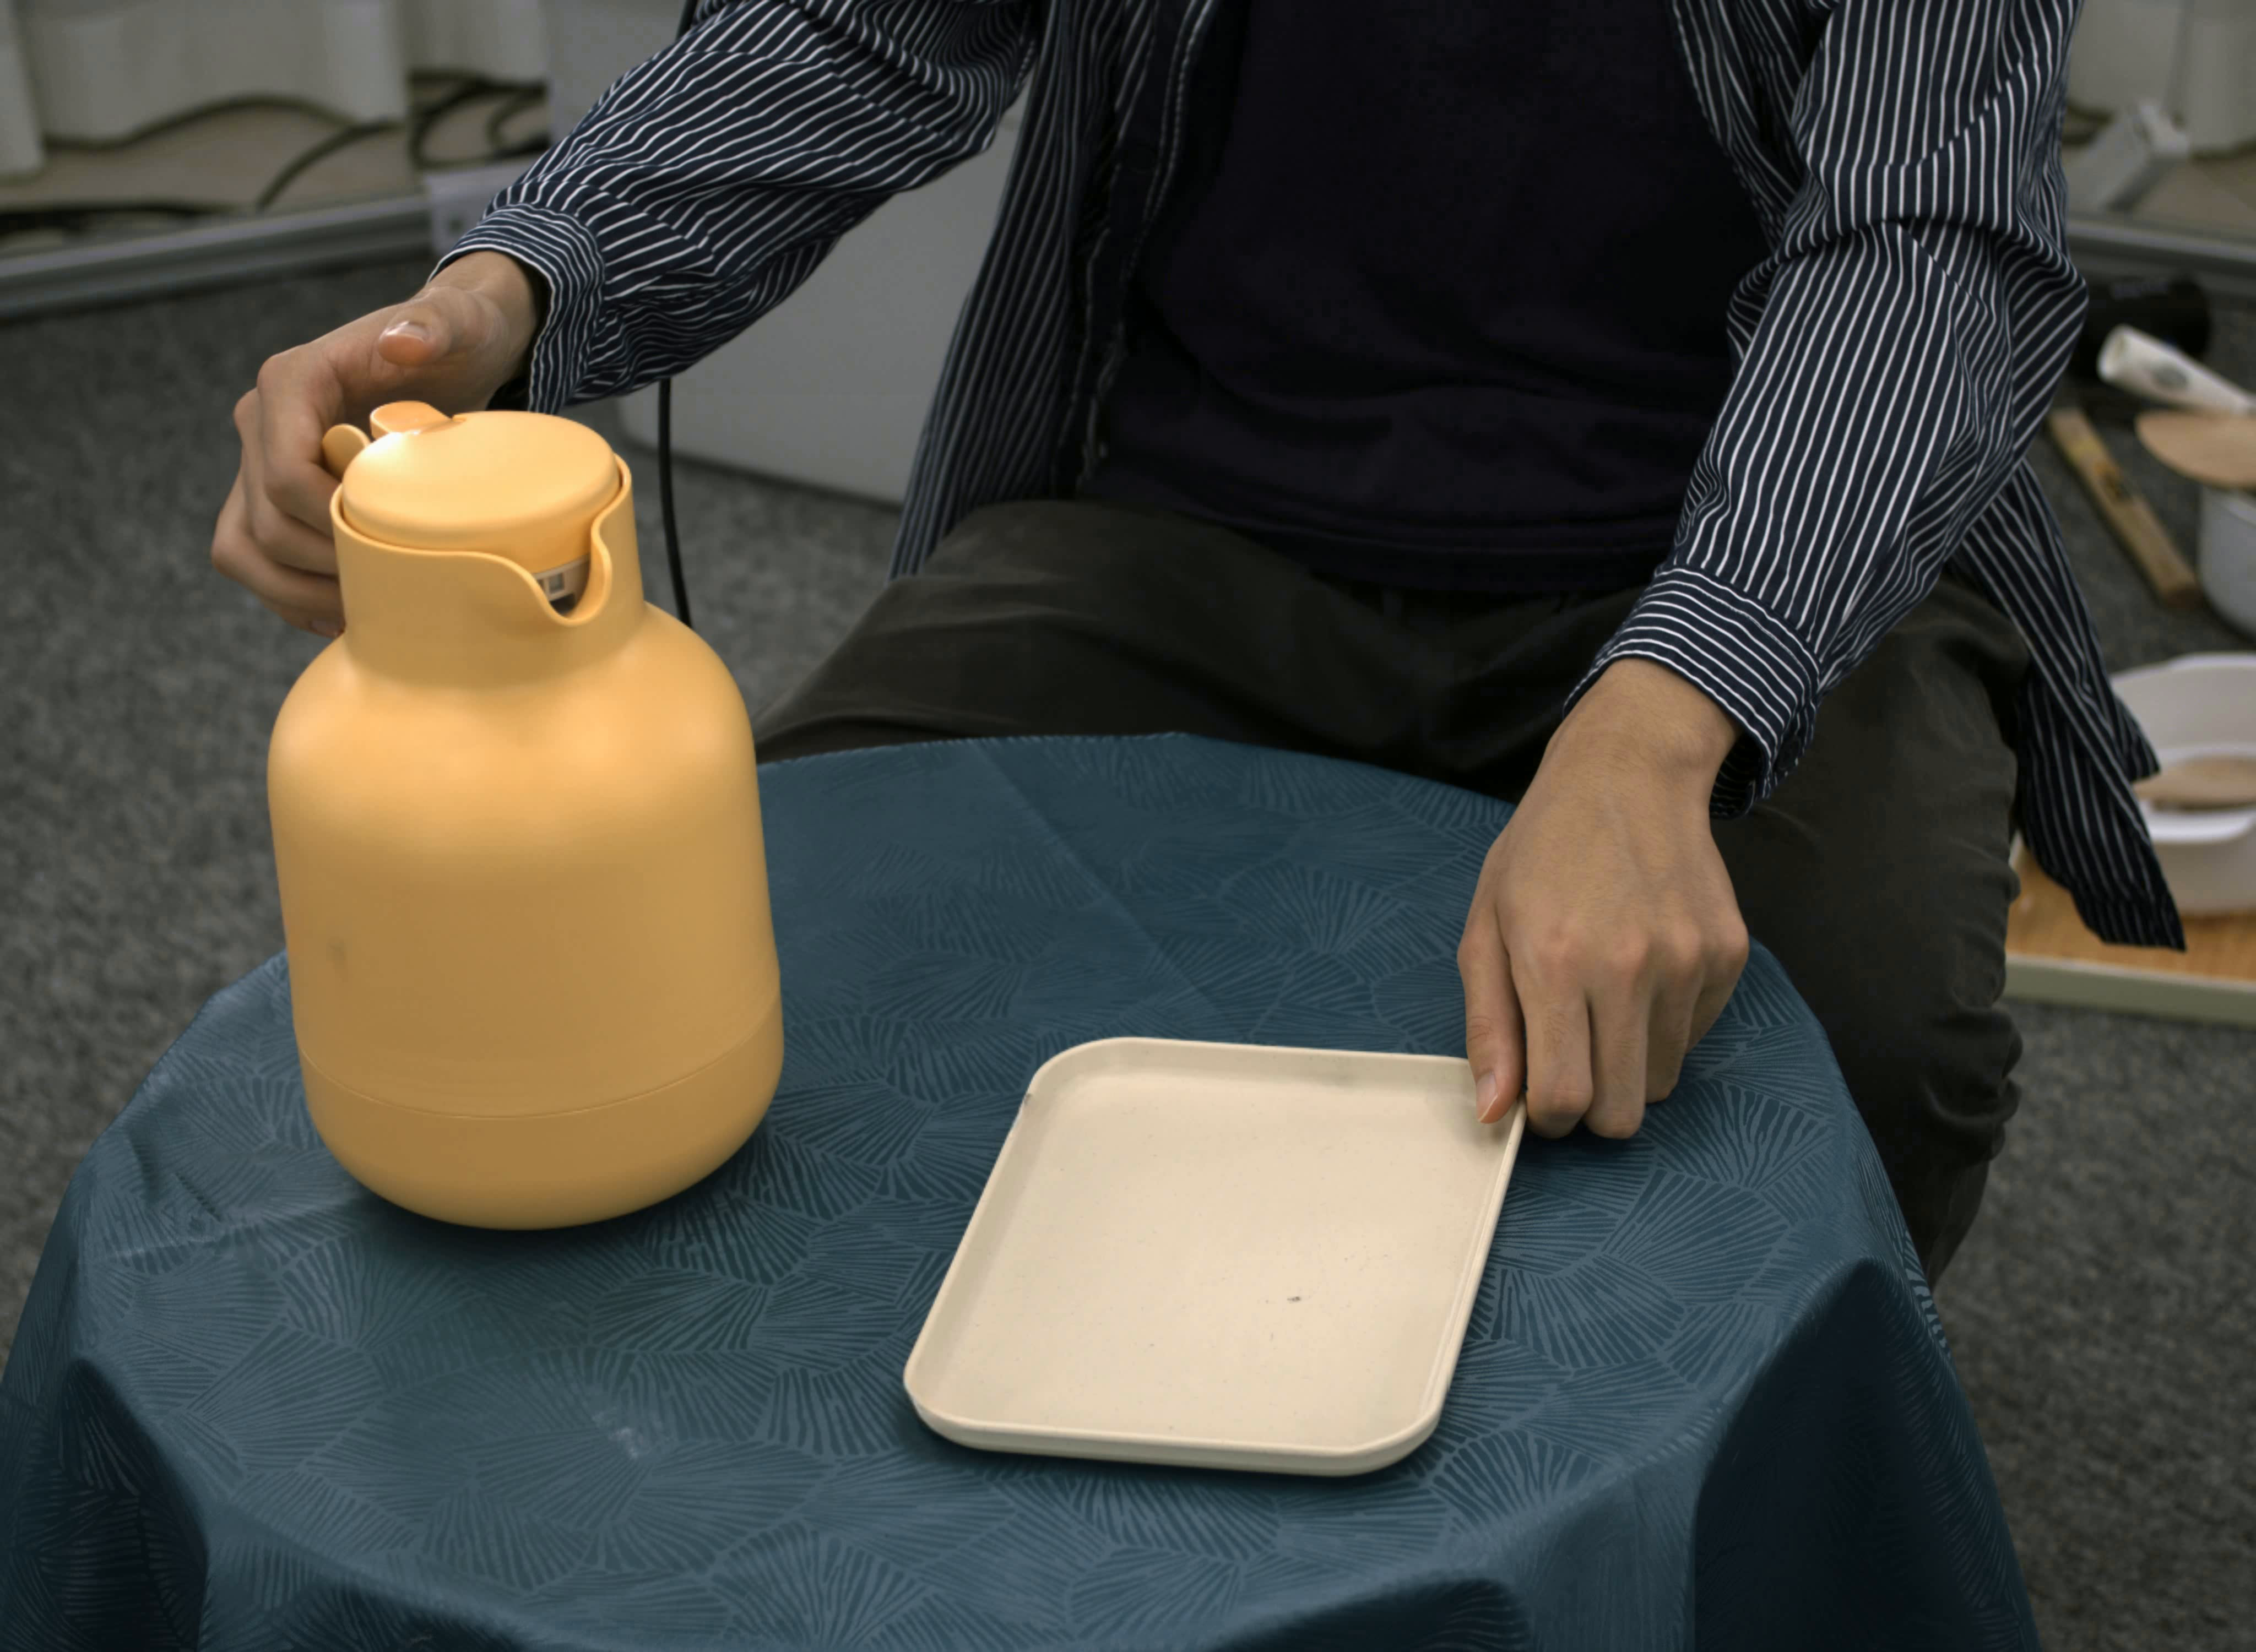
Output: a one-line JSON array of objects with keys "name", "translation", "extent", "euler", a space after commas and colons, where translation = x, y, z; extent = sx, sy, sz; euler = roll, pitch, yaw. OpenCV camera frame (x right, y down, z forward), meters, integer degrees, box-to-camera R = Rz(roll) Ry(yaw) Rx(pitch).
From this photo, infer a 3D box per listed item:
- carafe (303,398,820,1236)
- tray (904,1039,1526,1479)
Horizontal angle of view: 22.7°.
[{"name": "carafe", "translation": [-0.197, -0.013, 1.857], "extent": [0.164, 0.258, 0.203], "euler": [-17, 30, -29]}, {"name": "tray", "translation": [0.031, 0.138, 1.803], "extent": [0.170, 0.017, 0.244], "euler": [4, 28, 12]}]
